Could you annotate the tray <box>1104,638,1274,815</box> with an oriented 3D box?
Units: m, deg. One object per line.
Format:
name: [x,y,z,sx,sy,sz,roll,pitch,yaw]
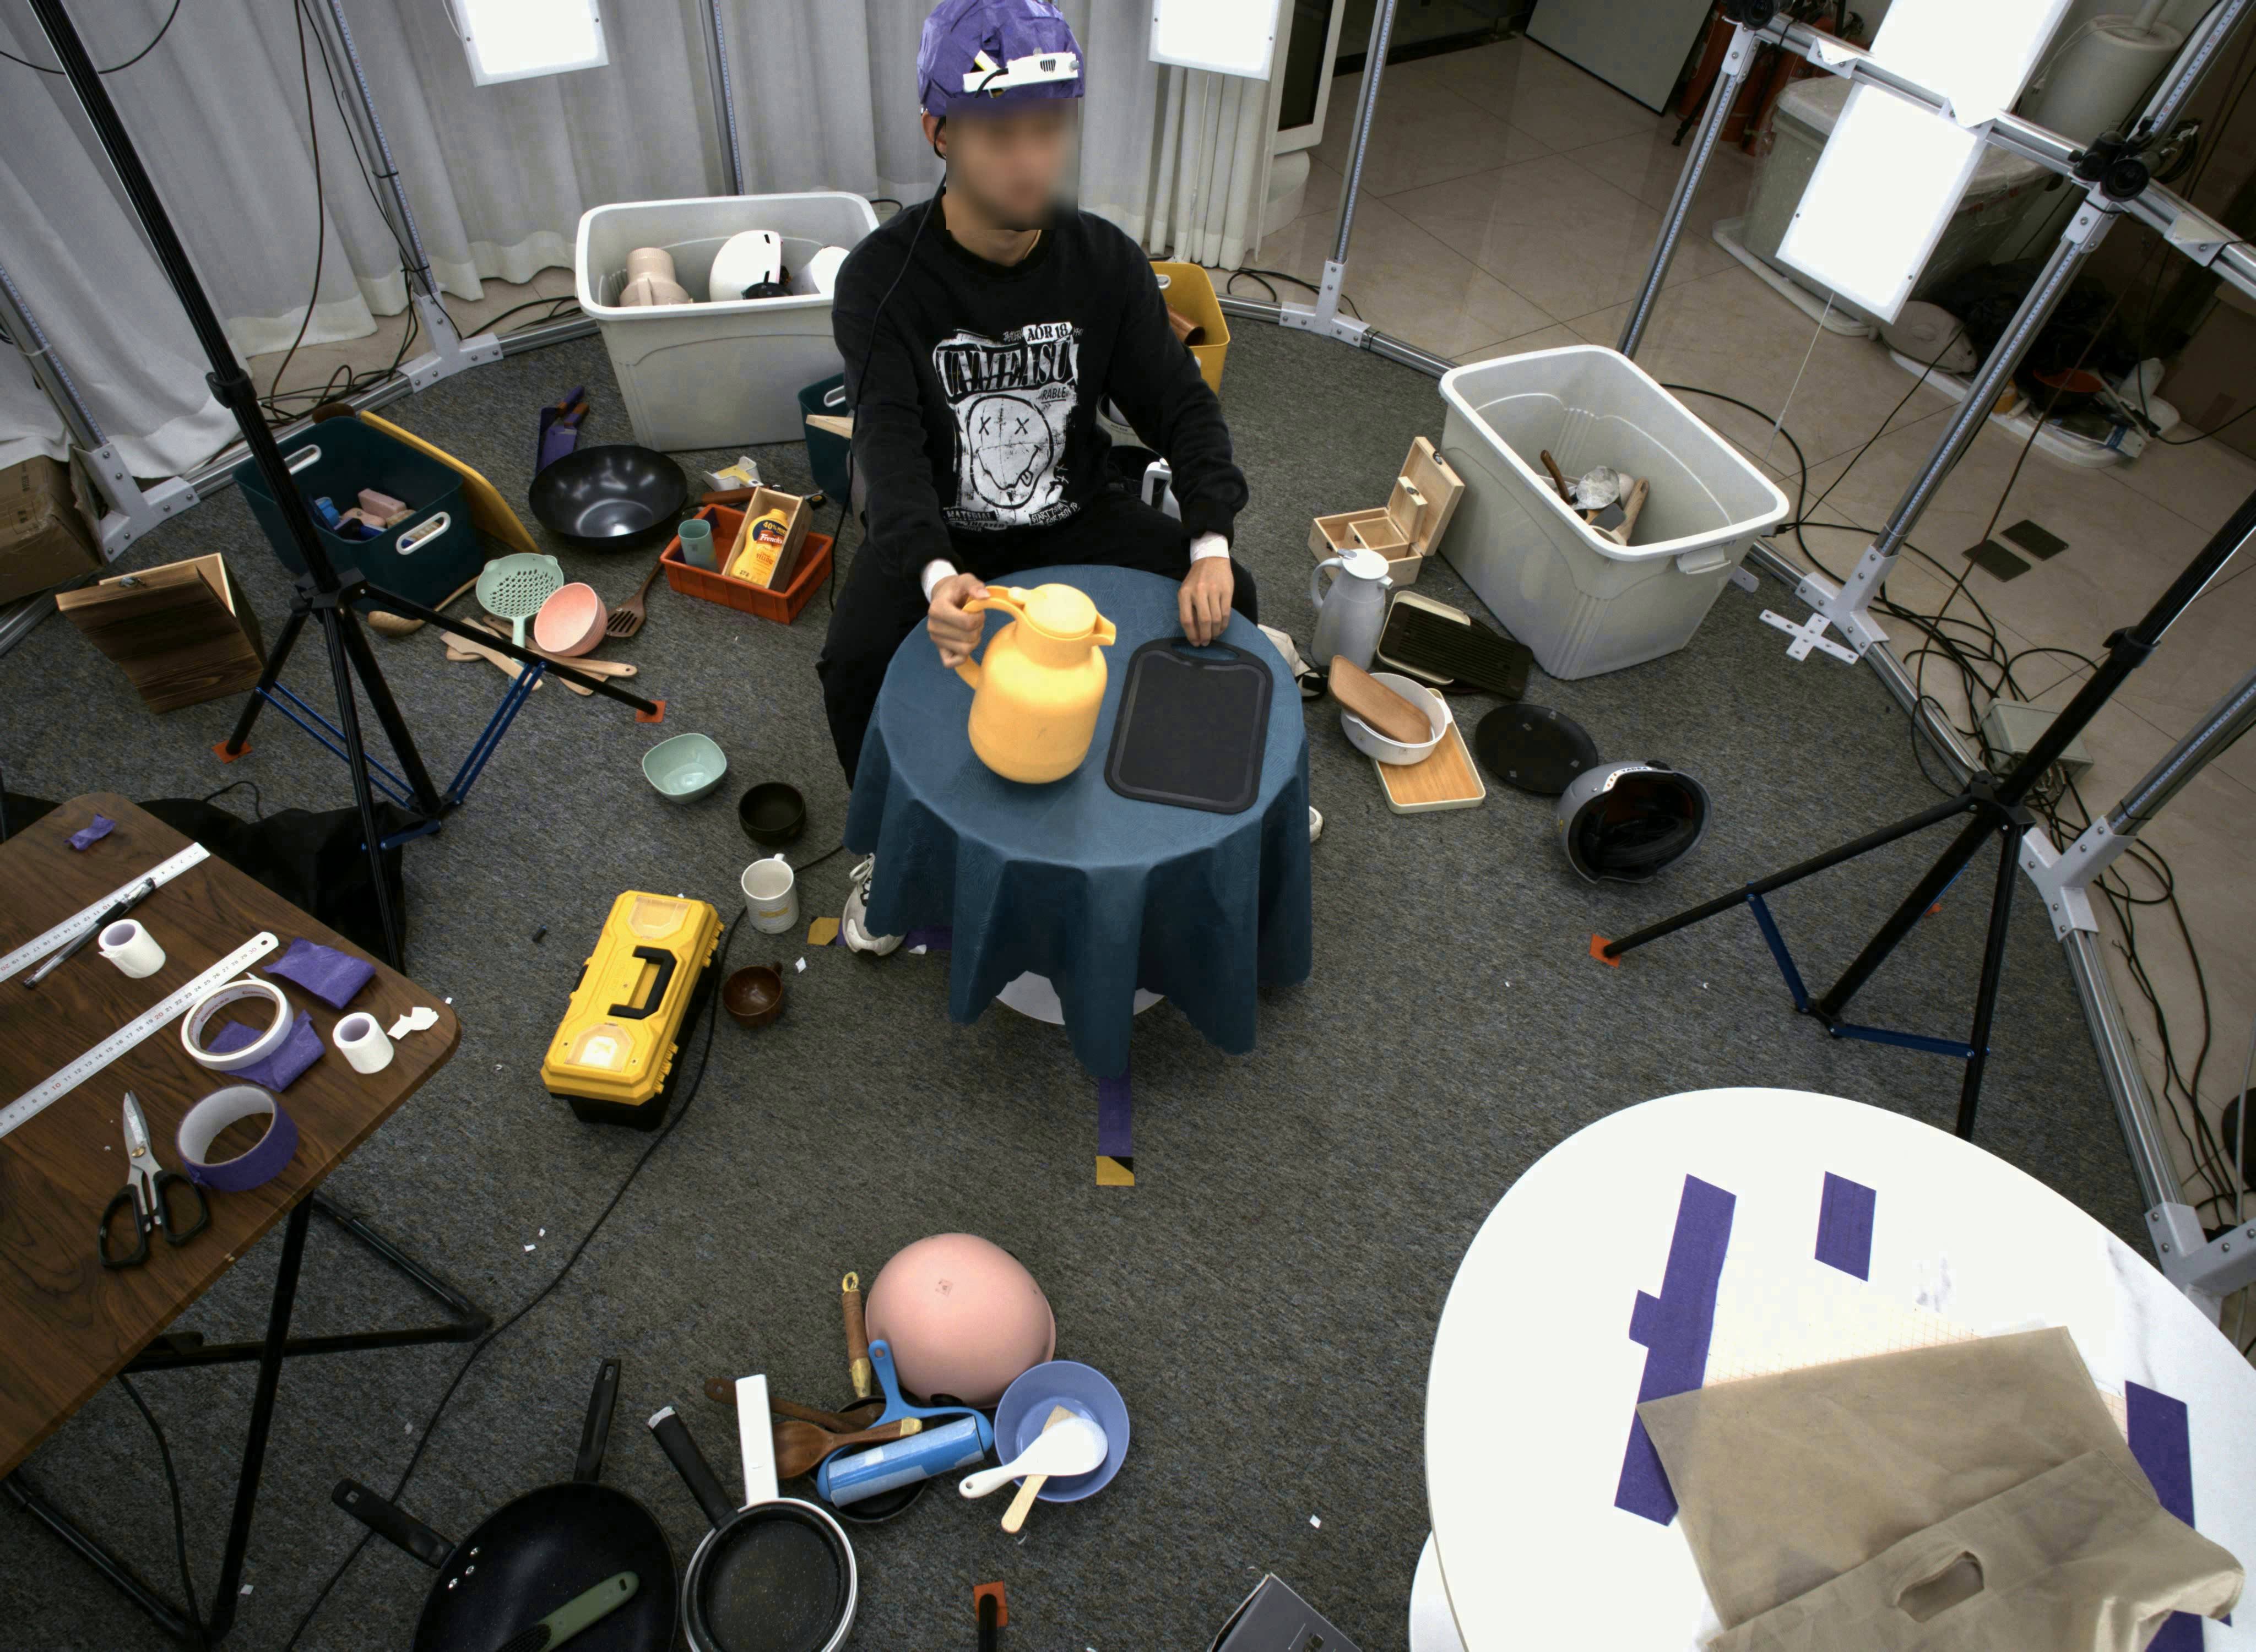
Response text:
tray: [0.091,-0.152,1.798,0.211,0.009,0.333,10,51,4]

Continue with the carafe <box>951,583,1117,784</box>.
carafe: [-0.127,-0.193,1.629,0.202,0.255,0.167,22,45,0]
